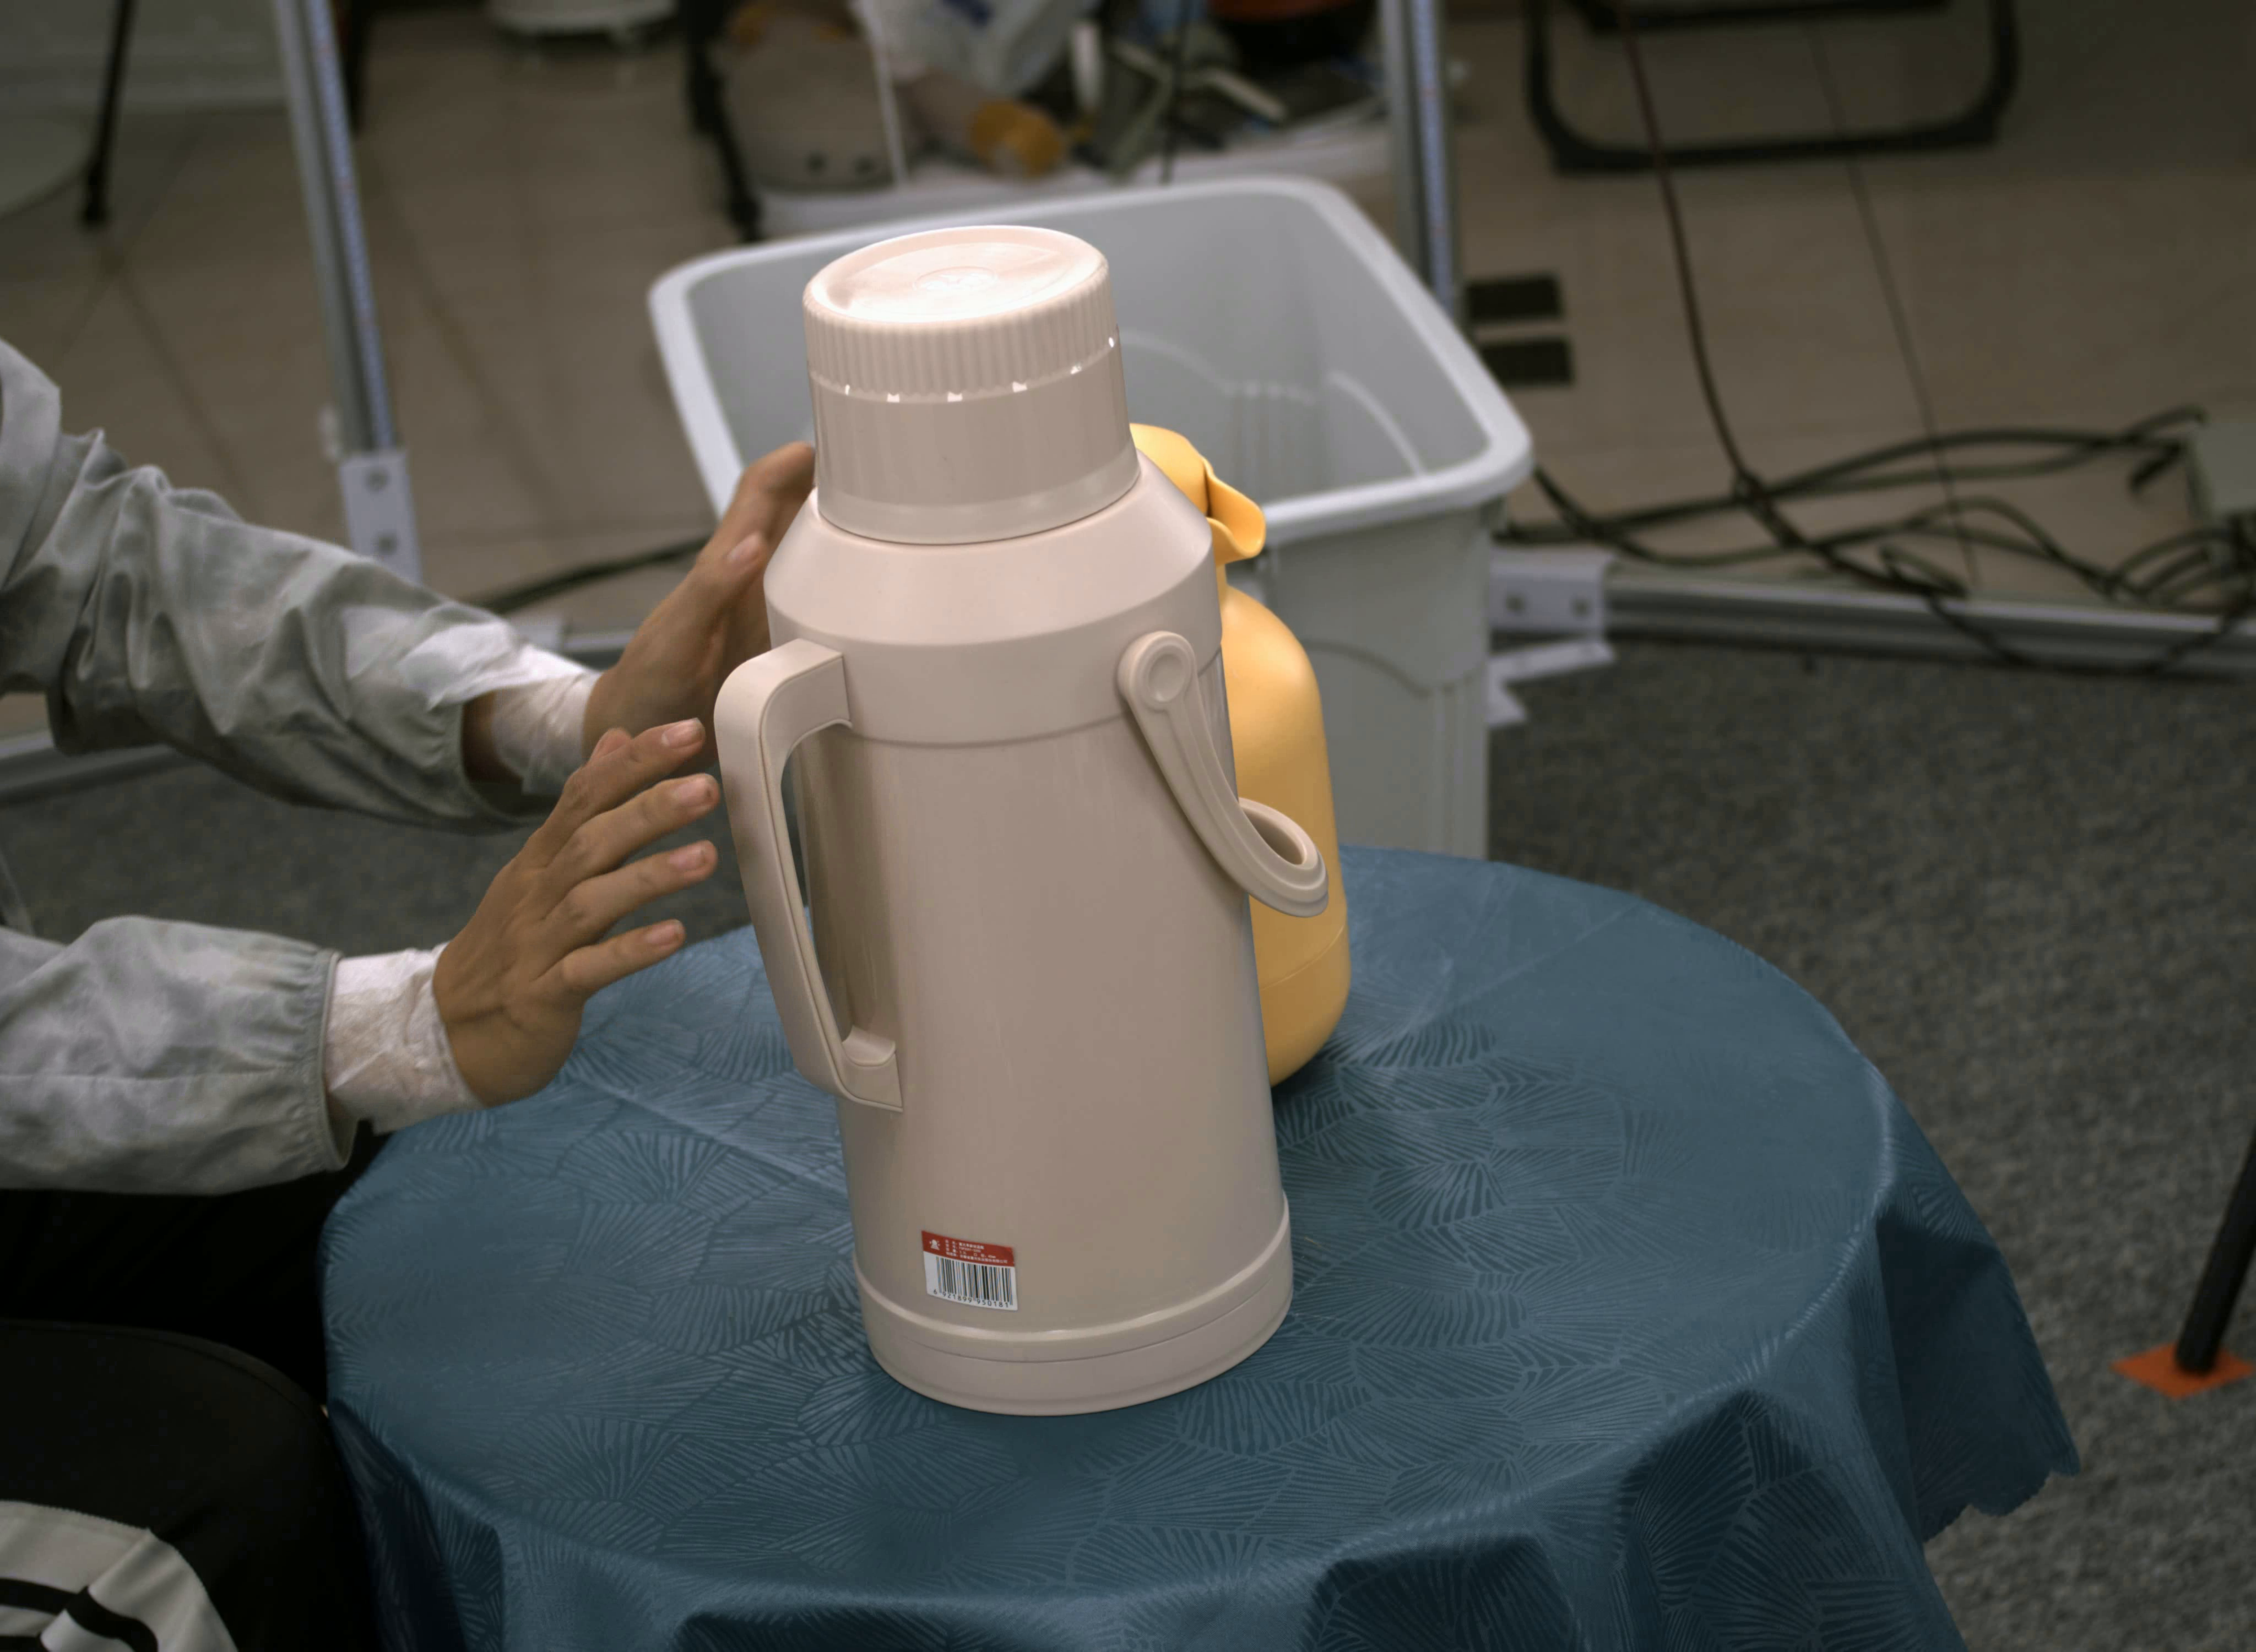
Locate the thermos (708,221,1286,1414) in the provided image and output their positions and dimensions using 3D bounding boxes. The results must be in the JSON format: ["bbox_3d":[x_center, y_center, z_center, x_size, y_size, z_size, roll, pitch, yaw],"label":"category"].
[{"bbox_3d":[-0.051,0.000,1.982,0.205,0.413,0.174,-25,32,-35],"label":"thermos"}]

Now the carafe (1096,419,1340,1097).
[{"bbox_3d":[-0.019,-0.030,2.203,0.201,0.264,0.162,13,30,33],"label":"carafe"}]
